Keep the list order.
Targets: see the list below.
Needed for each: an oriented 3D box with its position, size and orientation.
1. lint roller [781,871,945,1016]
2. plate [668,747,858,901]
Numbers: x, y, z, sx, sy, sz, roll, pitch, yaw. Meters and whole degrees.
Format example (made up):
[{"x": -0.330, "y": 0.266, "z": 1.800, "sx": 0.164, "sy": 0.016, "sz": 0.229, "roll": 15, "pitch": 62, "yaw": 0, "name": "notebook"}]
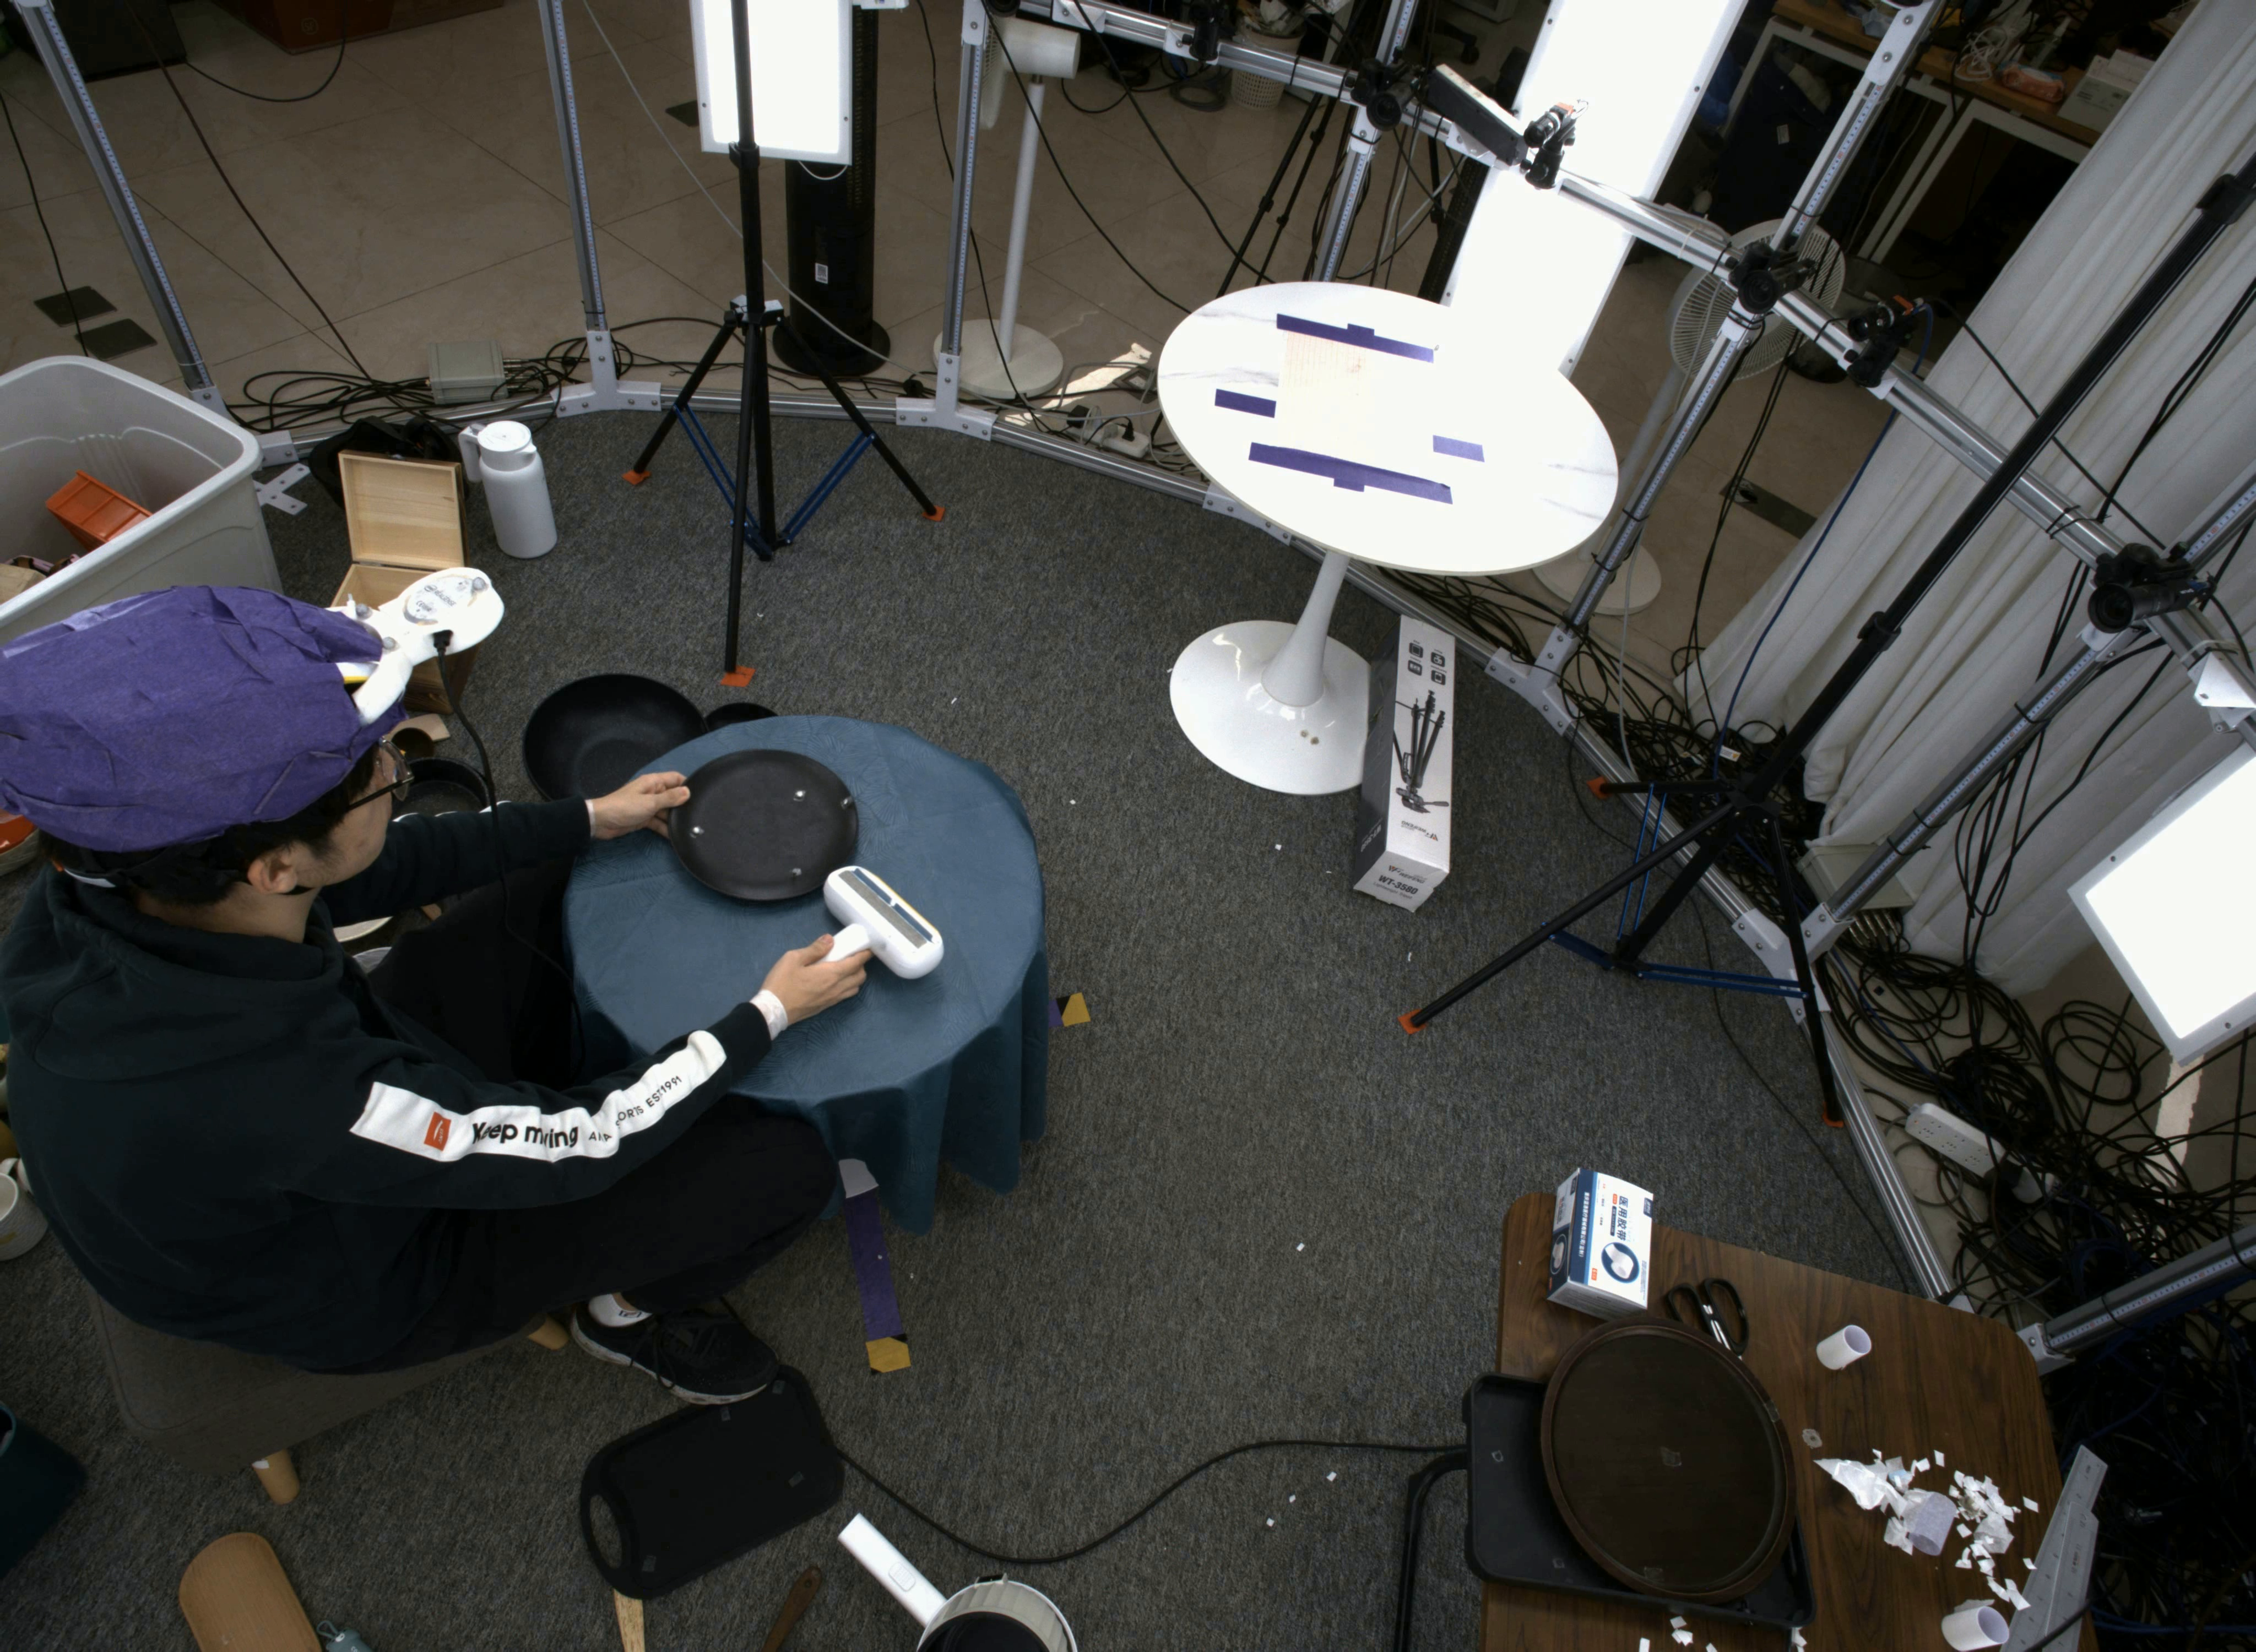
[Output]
[{"x": -0.347, "y": 0.159, "z": 1.607, "sx": 0.192, "sy": 0.076, "sz": 0.187, "roll": -33, "pitch": 59, "yaw": -22, "name": "lint roller"}, {"x": -0.477, "y": -0.003, "z": 1.695, "sx": 0.244, "sy": 0.024, "sz": 0.240, "roll": 9, "pitch": 55, "yaw": -11, "name": "plate"}]
